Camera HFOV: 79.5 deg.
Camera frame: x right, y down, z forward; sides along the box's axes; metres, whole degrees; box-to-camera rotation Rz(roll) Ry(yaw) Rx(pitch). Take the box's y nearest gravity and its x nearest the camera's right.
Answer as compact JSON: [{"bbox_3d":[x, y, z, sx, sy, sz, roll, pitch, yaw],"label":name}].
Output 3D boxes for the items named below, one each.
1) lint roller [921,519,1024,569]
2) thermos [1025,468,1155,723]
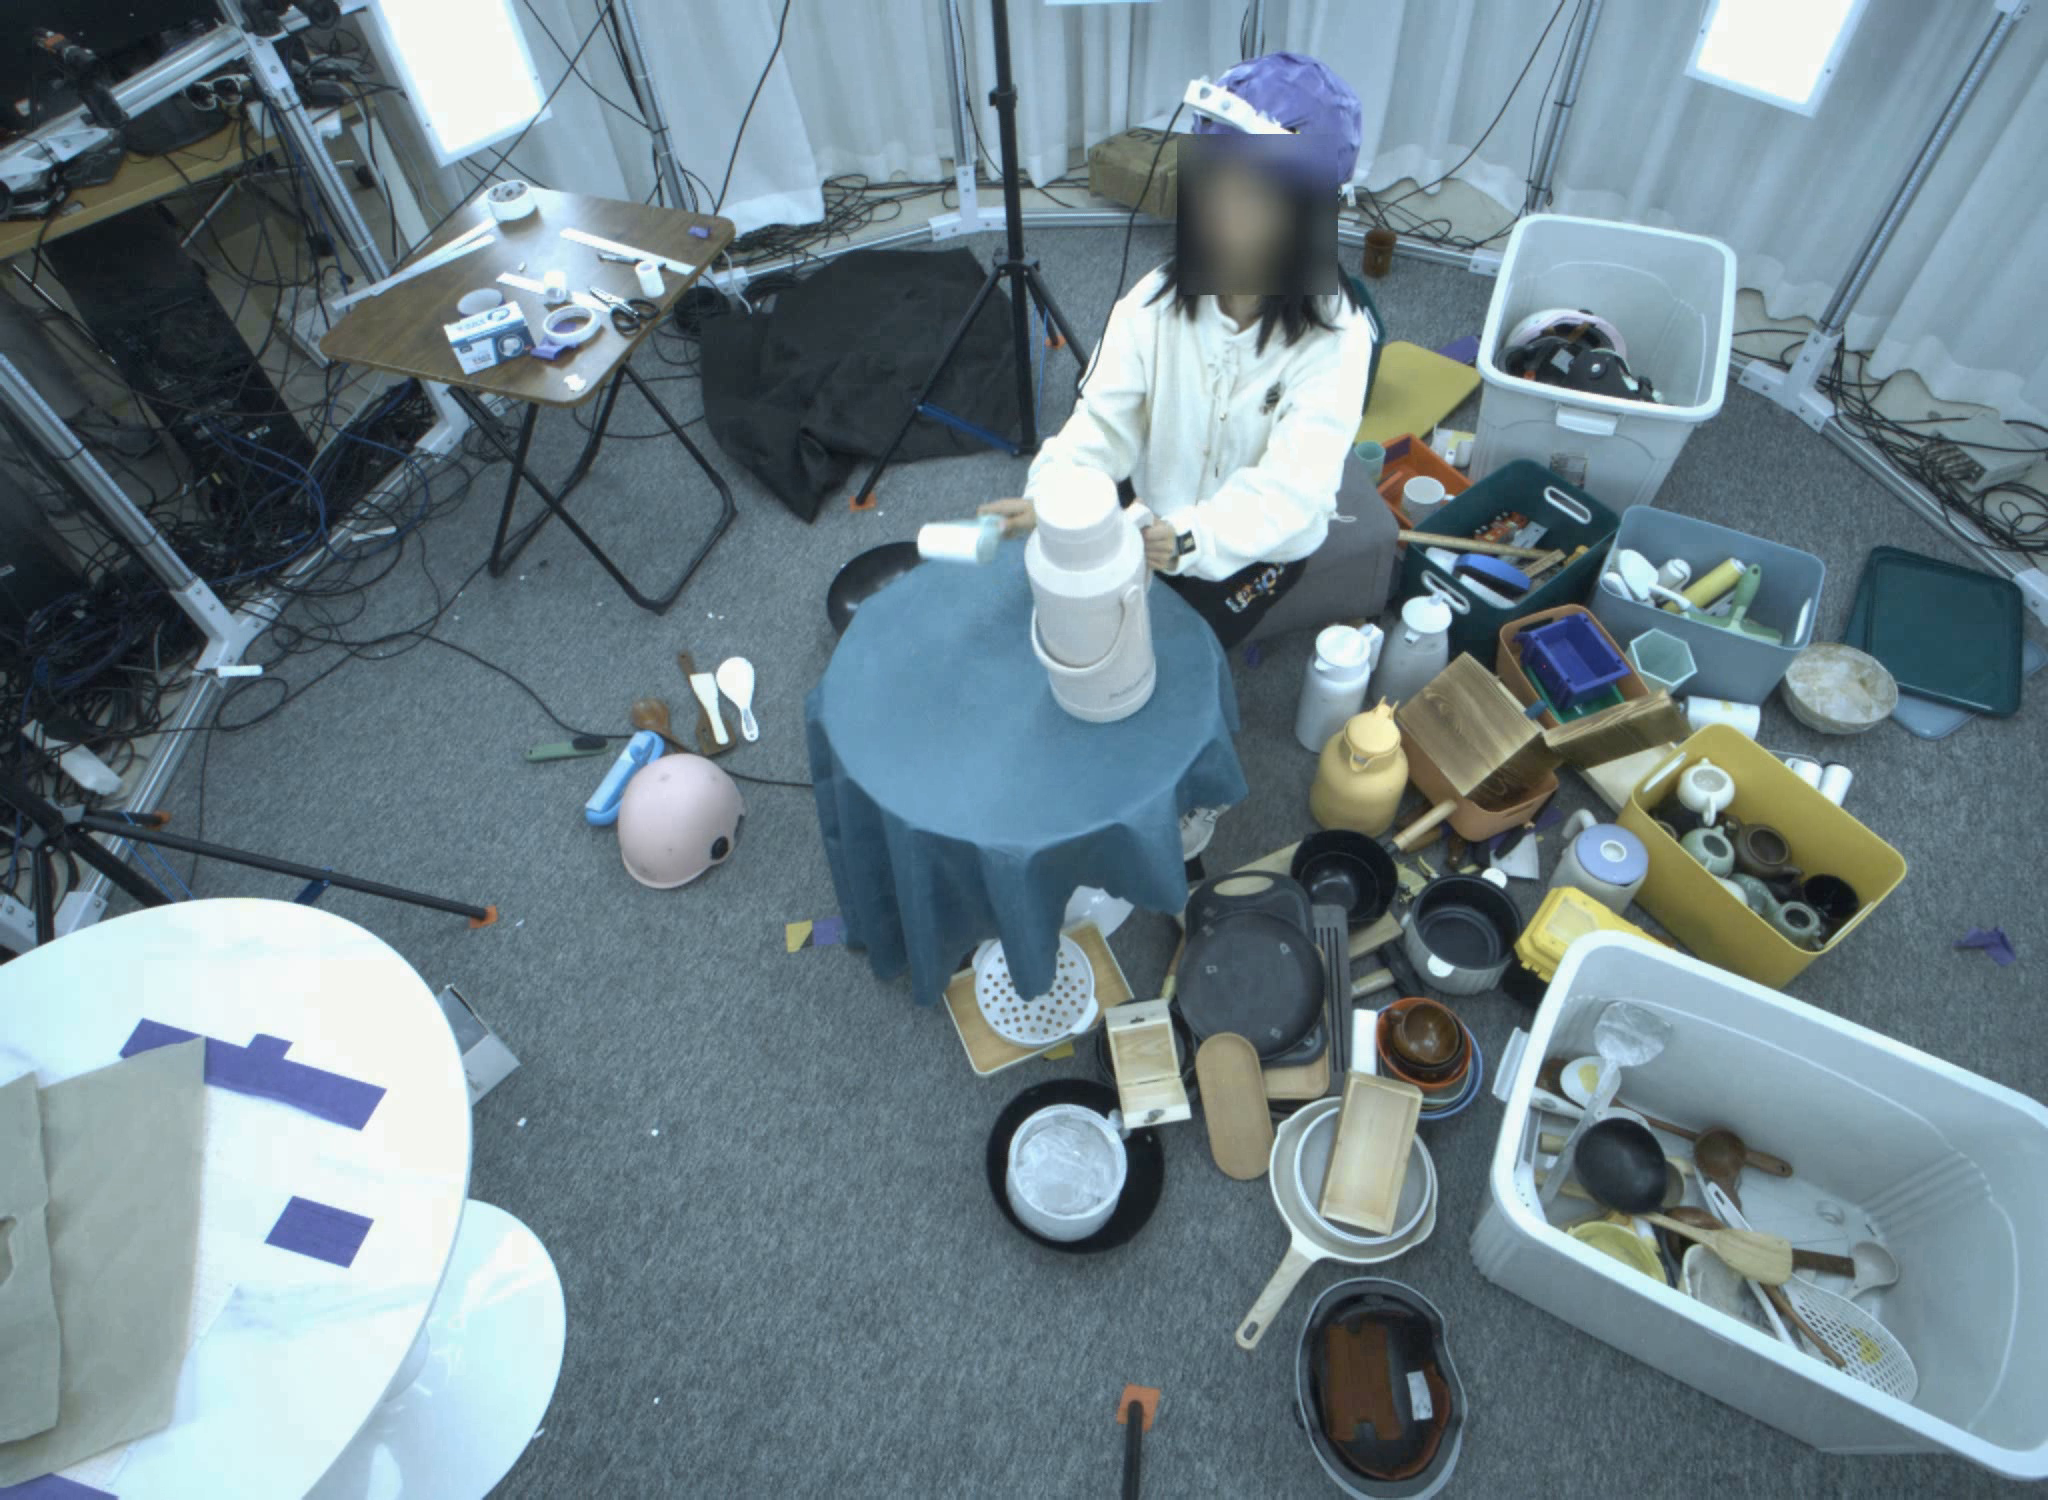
[{"bbox_3d":[-0.056,-0.317,1.820,0.114,0.049,0.199,11,30,31],"label":"lint roller"},{"bbox_3d":[0.101,-0.215,1.682,0.208,0.412,0.172,-42,62,-16],"label":"thermos"}]
